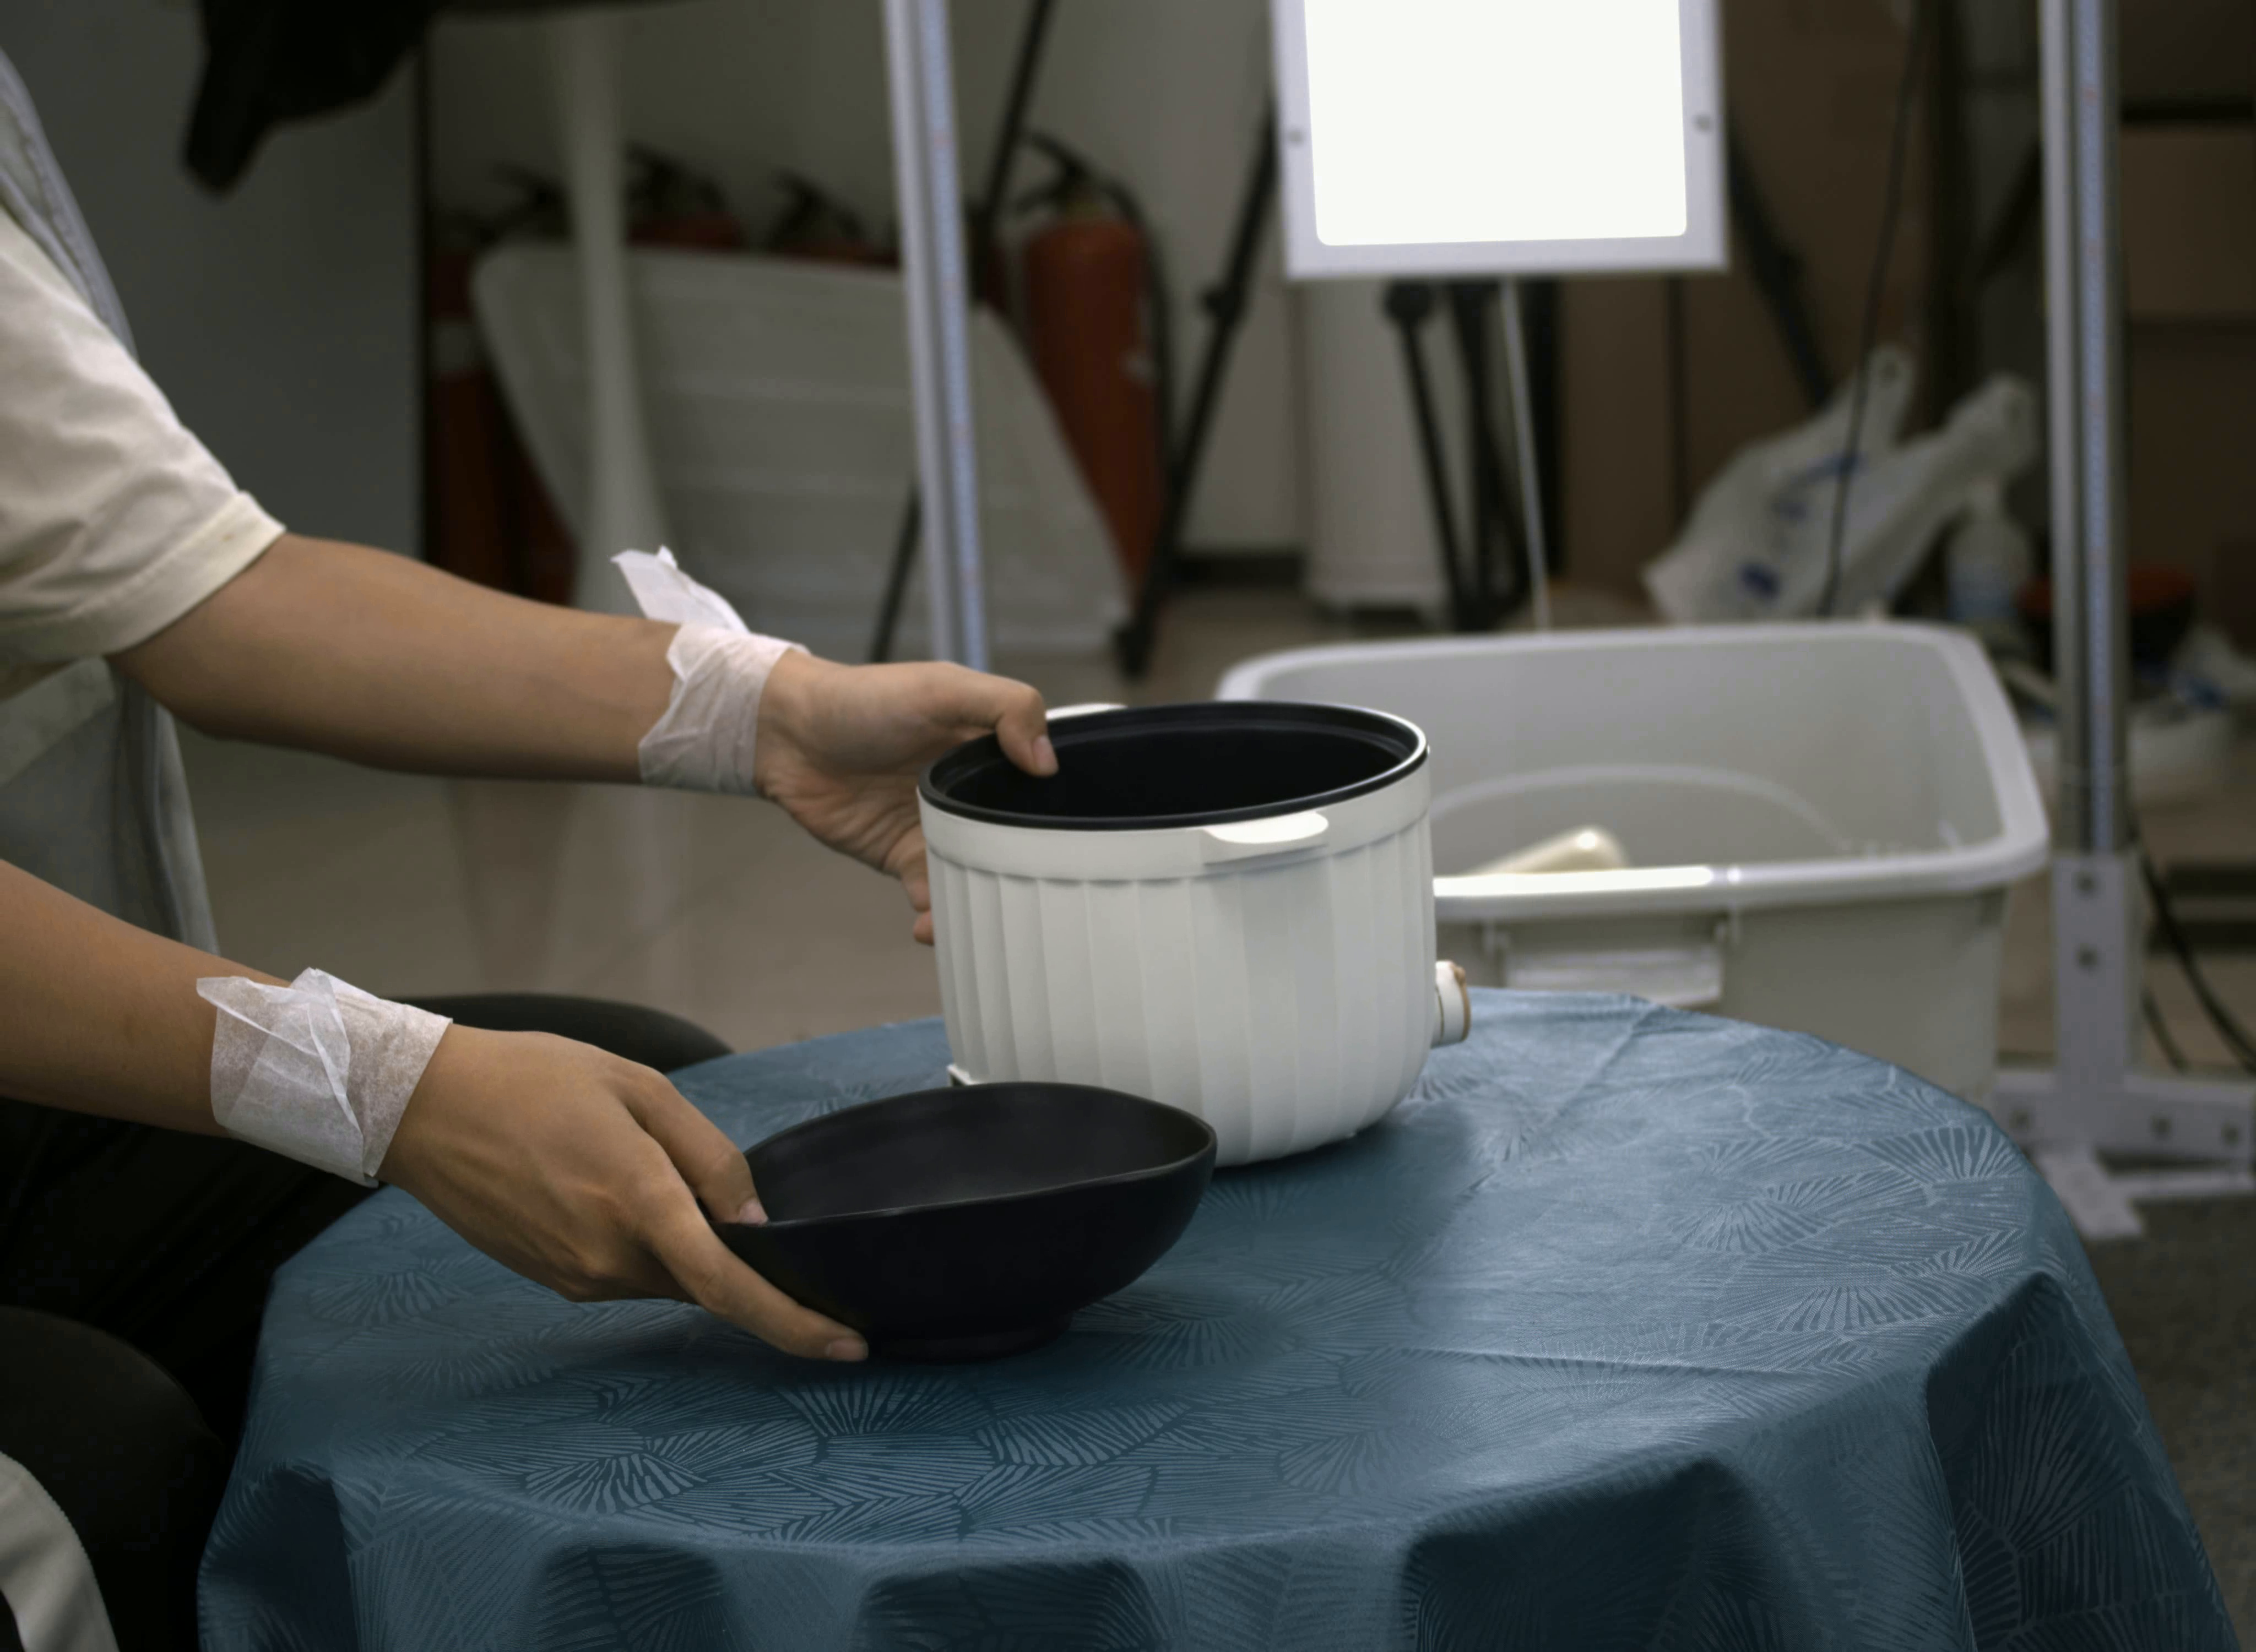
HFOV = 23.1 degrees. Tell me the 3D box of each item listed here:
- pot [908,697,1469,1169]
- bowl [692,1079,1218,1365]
[{"bbox_3d":[0.025,0.039,1.954,0.188,0.143,0.243,-12,16,-16],"label":"pot"},{"bbox_3d":[-0.053,0.131,1.758,0.169,0.067,0.138,-7,12,-8],"label":"bowl"}]
